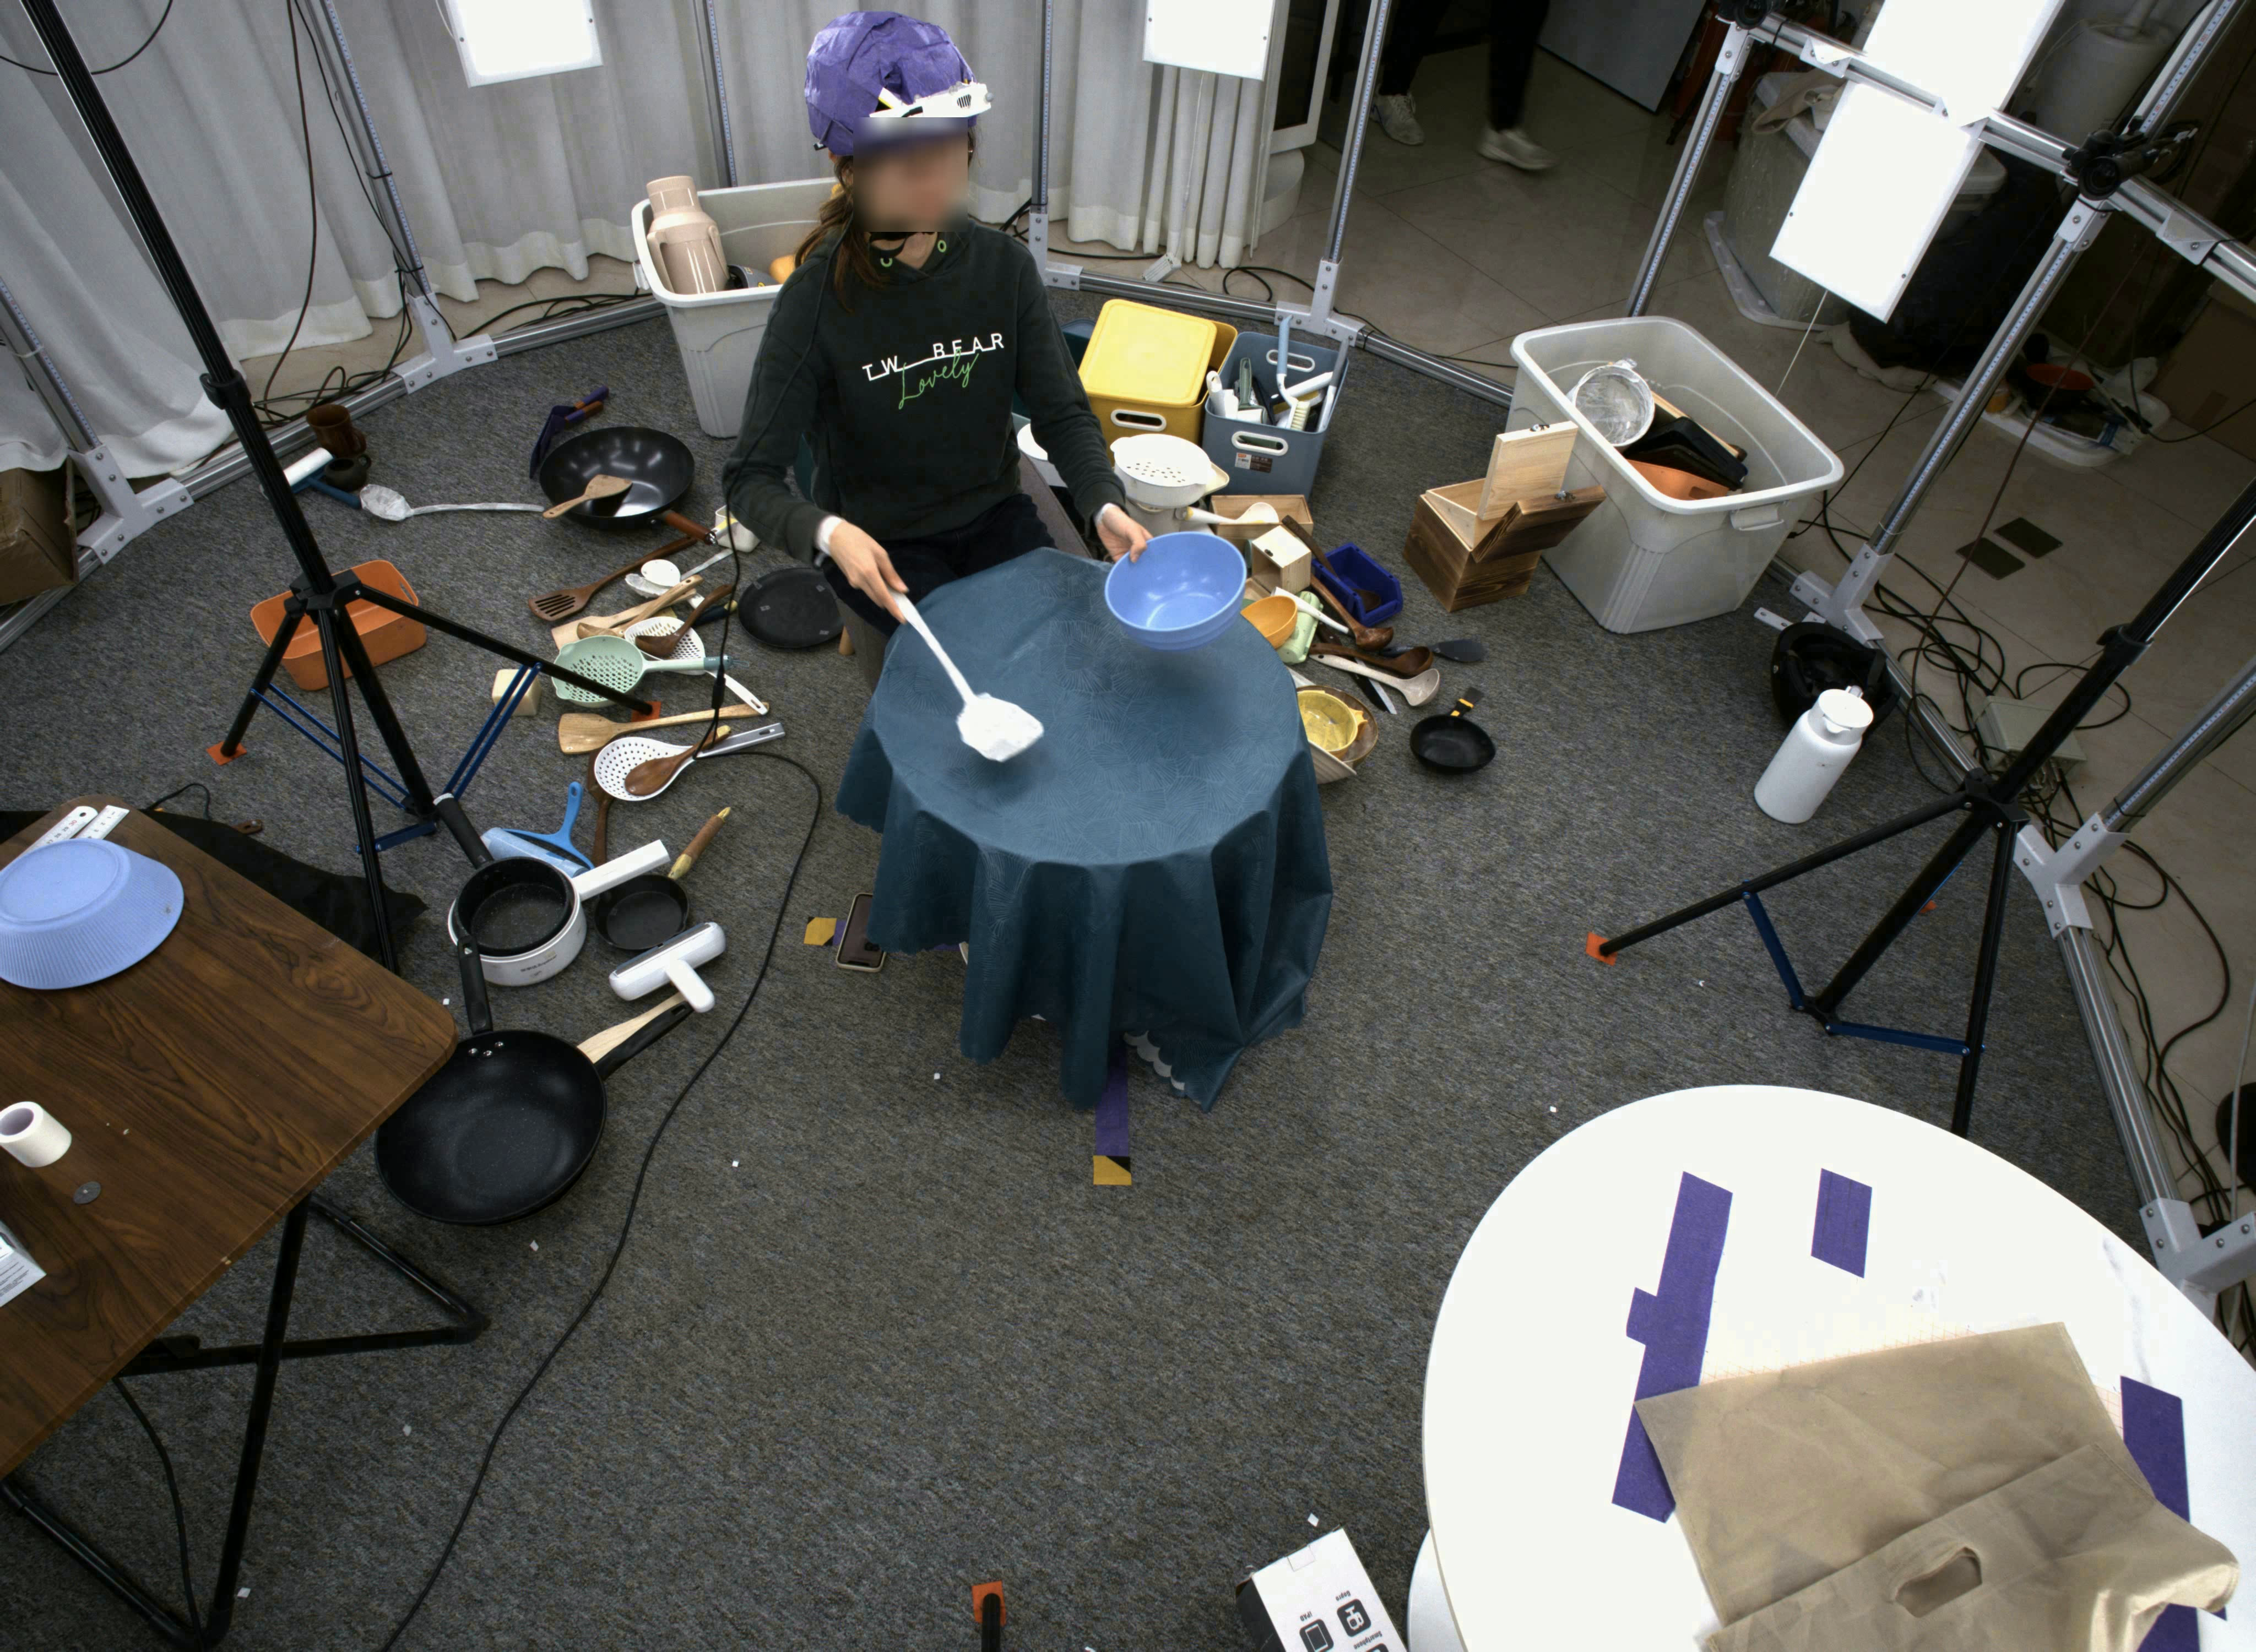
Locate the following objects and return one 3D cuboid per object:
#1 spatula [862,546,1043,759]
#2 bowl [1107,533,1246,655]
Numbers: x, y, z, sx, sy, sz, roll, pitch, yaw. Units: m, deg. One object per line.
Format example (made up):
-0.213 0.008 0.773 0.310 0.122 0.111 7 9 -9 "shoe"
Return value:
-0.252 -0.240 1.726 0.099 0.044 0.367 -32 81 -29 "spatula"
0.076 -0.309 1.803 0.196 0.093 0.201 -8 51 10 "bowl"
